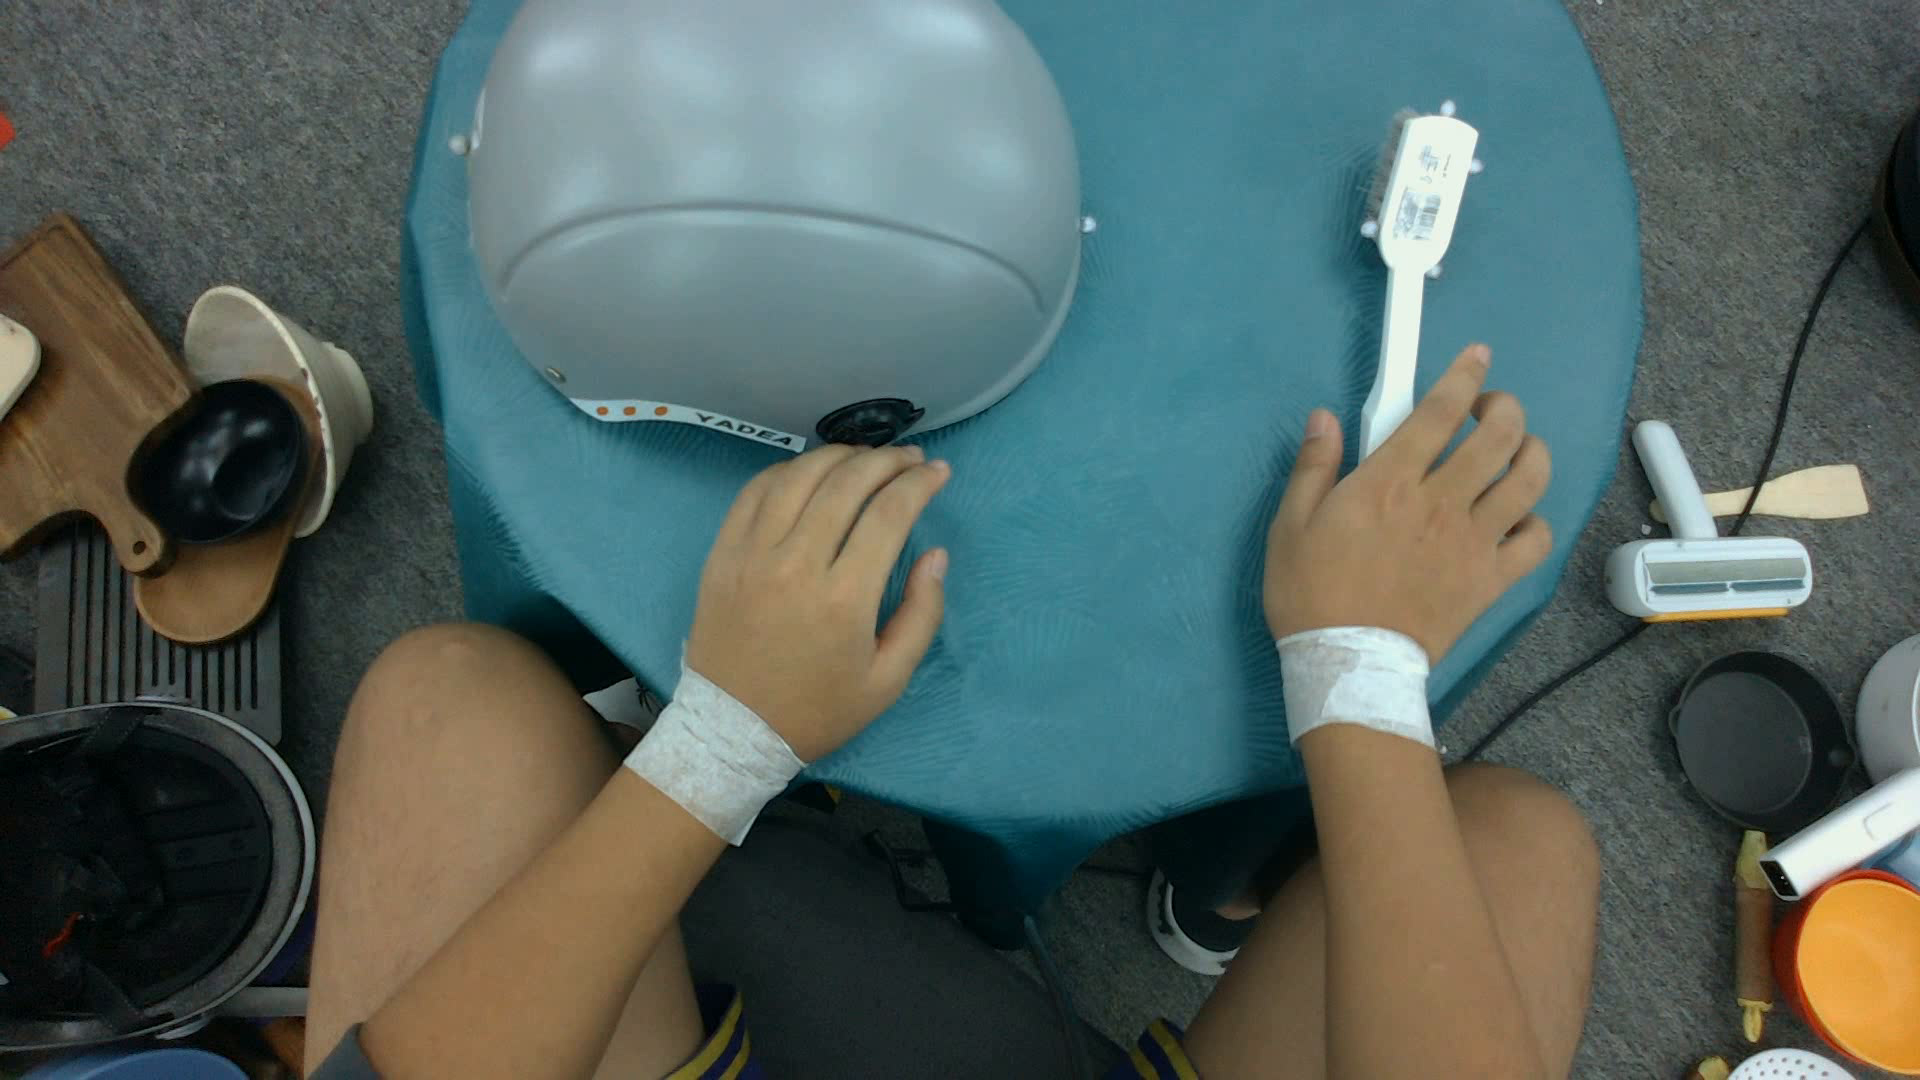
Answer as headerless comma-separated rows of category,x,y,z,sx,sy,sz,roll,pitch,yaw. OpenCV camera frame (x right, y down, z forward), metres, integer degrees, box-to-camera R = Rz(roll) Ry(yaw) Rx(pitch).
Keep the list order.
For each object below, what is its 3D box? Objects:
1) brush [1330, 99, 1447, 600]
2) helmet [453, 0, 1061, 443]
brush,0.197,-0.093,0.661,0.034,0.050,0.243,7,90,-4
helmet,-0.079,-0.166,0.581,0.276,0.168,0.232,-1,79,-8
